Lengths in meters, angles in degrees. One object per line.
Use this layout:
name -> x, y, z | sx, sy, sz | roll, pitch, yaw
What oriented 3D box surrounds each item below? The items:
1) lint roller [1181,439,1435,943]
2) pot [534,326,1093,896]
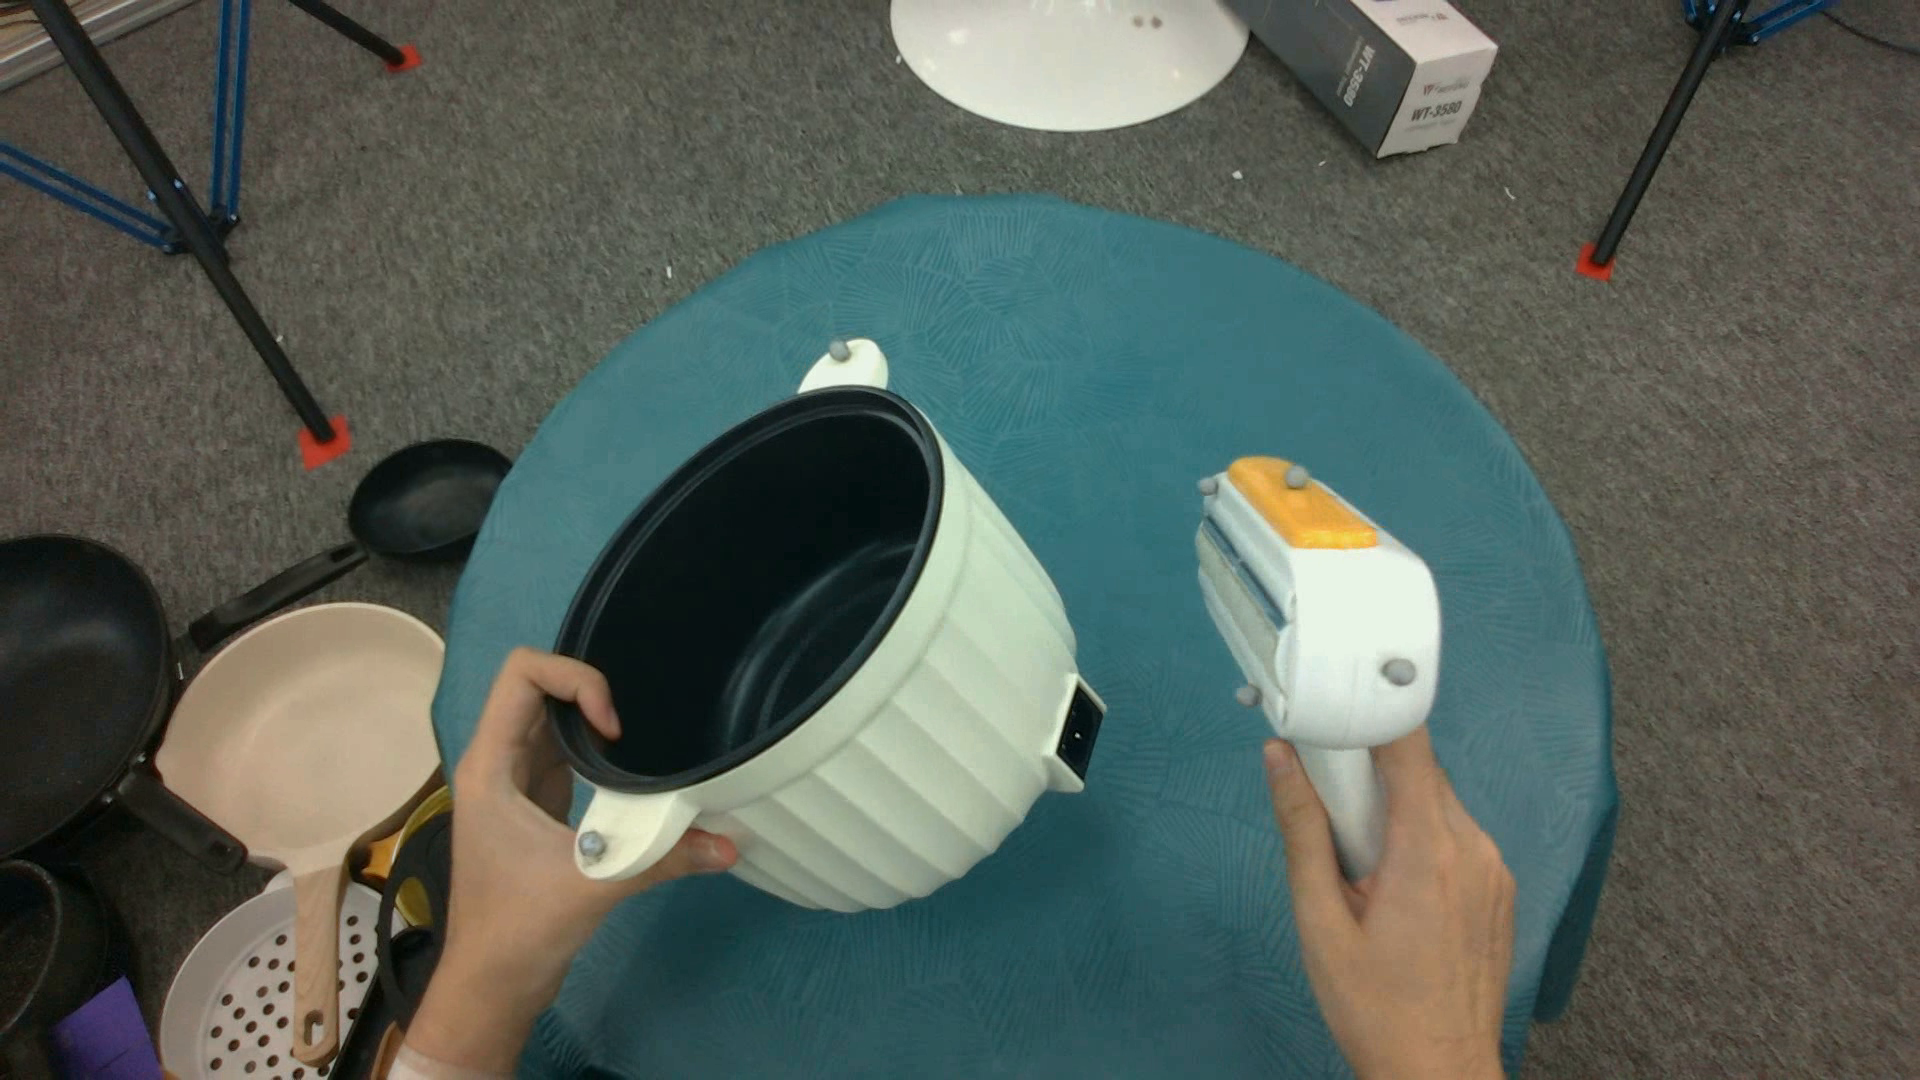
lint roller -> 0.134, 0.068, 0.516 | 0.074, 0.192, 0.193 | -11, 16, -2
pot -> -0.058, 0.045, 0.553 | 0.190, 0.142, 0.241 | -3, 51, 33
